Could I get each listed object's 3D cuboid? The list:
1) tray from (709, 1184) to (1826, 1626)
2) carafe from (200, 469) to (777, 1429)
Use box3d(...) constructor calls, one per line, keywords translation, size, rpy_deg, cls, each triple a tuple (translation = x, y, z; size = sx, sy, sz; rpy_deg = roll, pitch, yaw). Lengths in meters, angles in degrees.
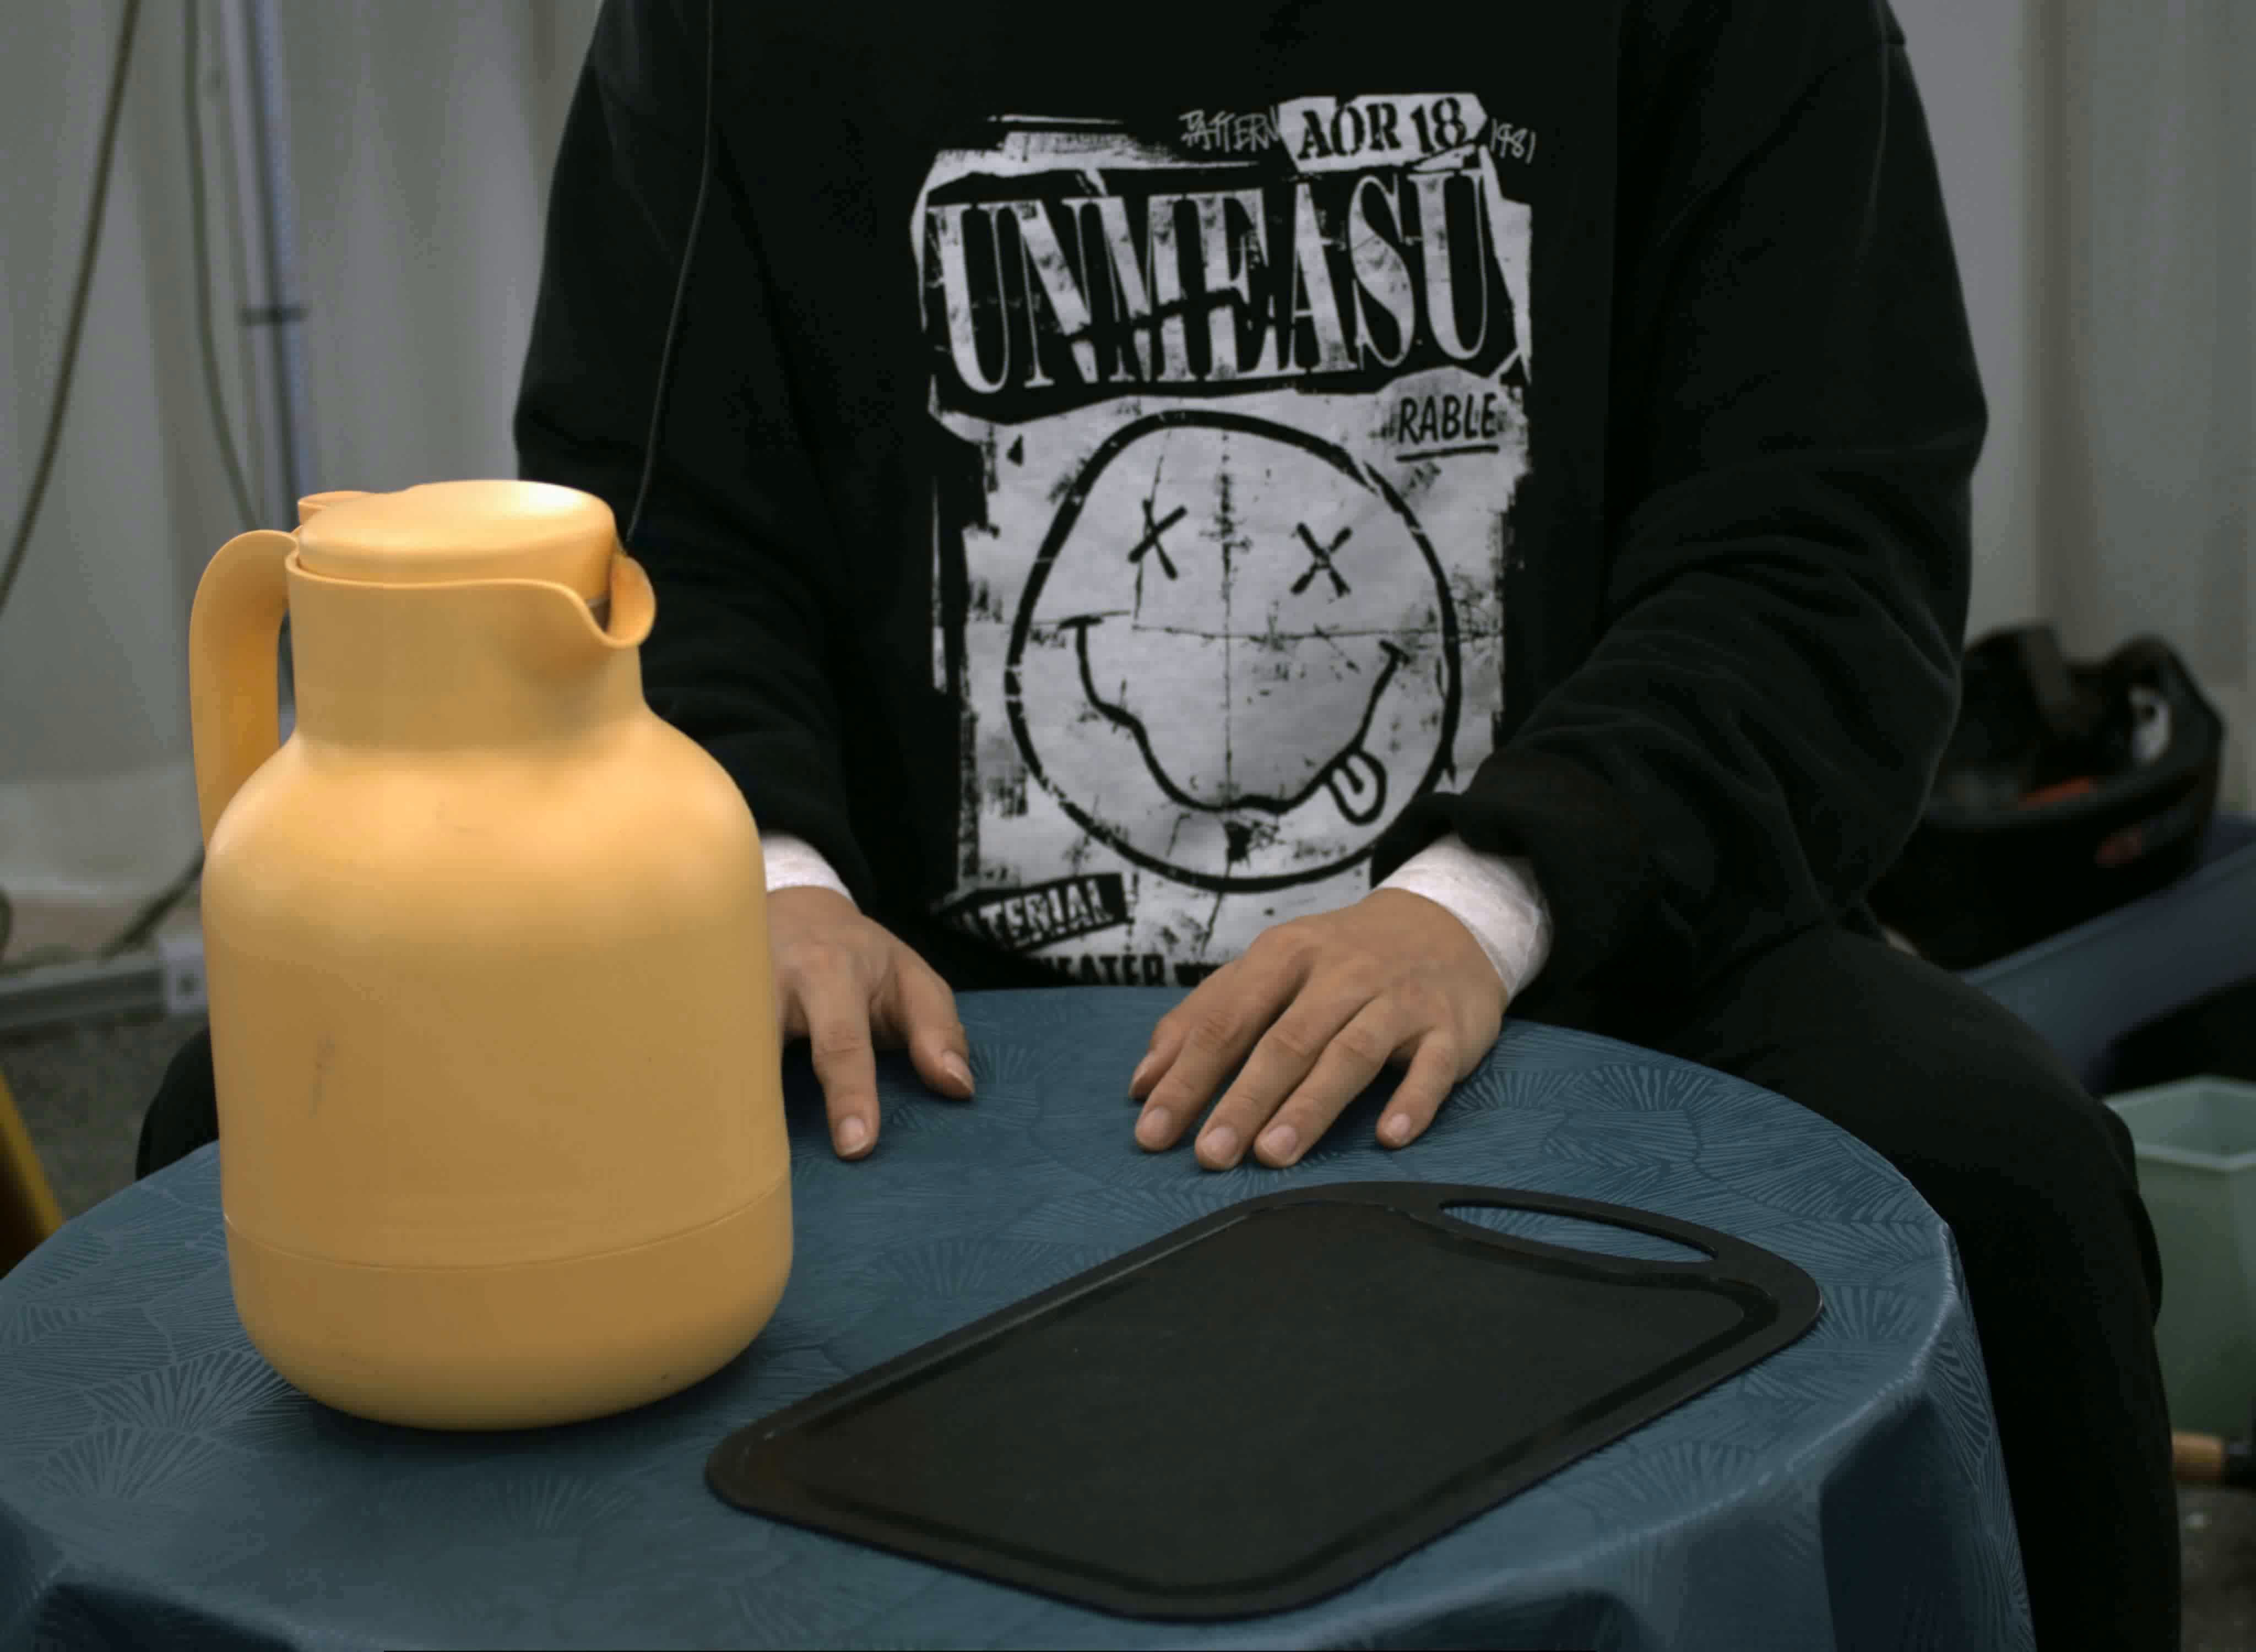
box3d(translation=(0.048, 0.154, 1.546), size=(0.212, 0.010, 0.325), rpy_deg=(10, 19, 39), cls="tray")
box3d(translation=(-0.195, 0.027, 1.574), size=(0.163, 0.259, 0.204), rpy_deg=(-11, 17, -40), cls="carafe")
